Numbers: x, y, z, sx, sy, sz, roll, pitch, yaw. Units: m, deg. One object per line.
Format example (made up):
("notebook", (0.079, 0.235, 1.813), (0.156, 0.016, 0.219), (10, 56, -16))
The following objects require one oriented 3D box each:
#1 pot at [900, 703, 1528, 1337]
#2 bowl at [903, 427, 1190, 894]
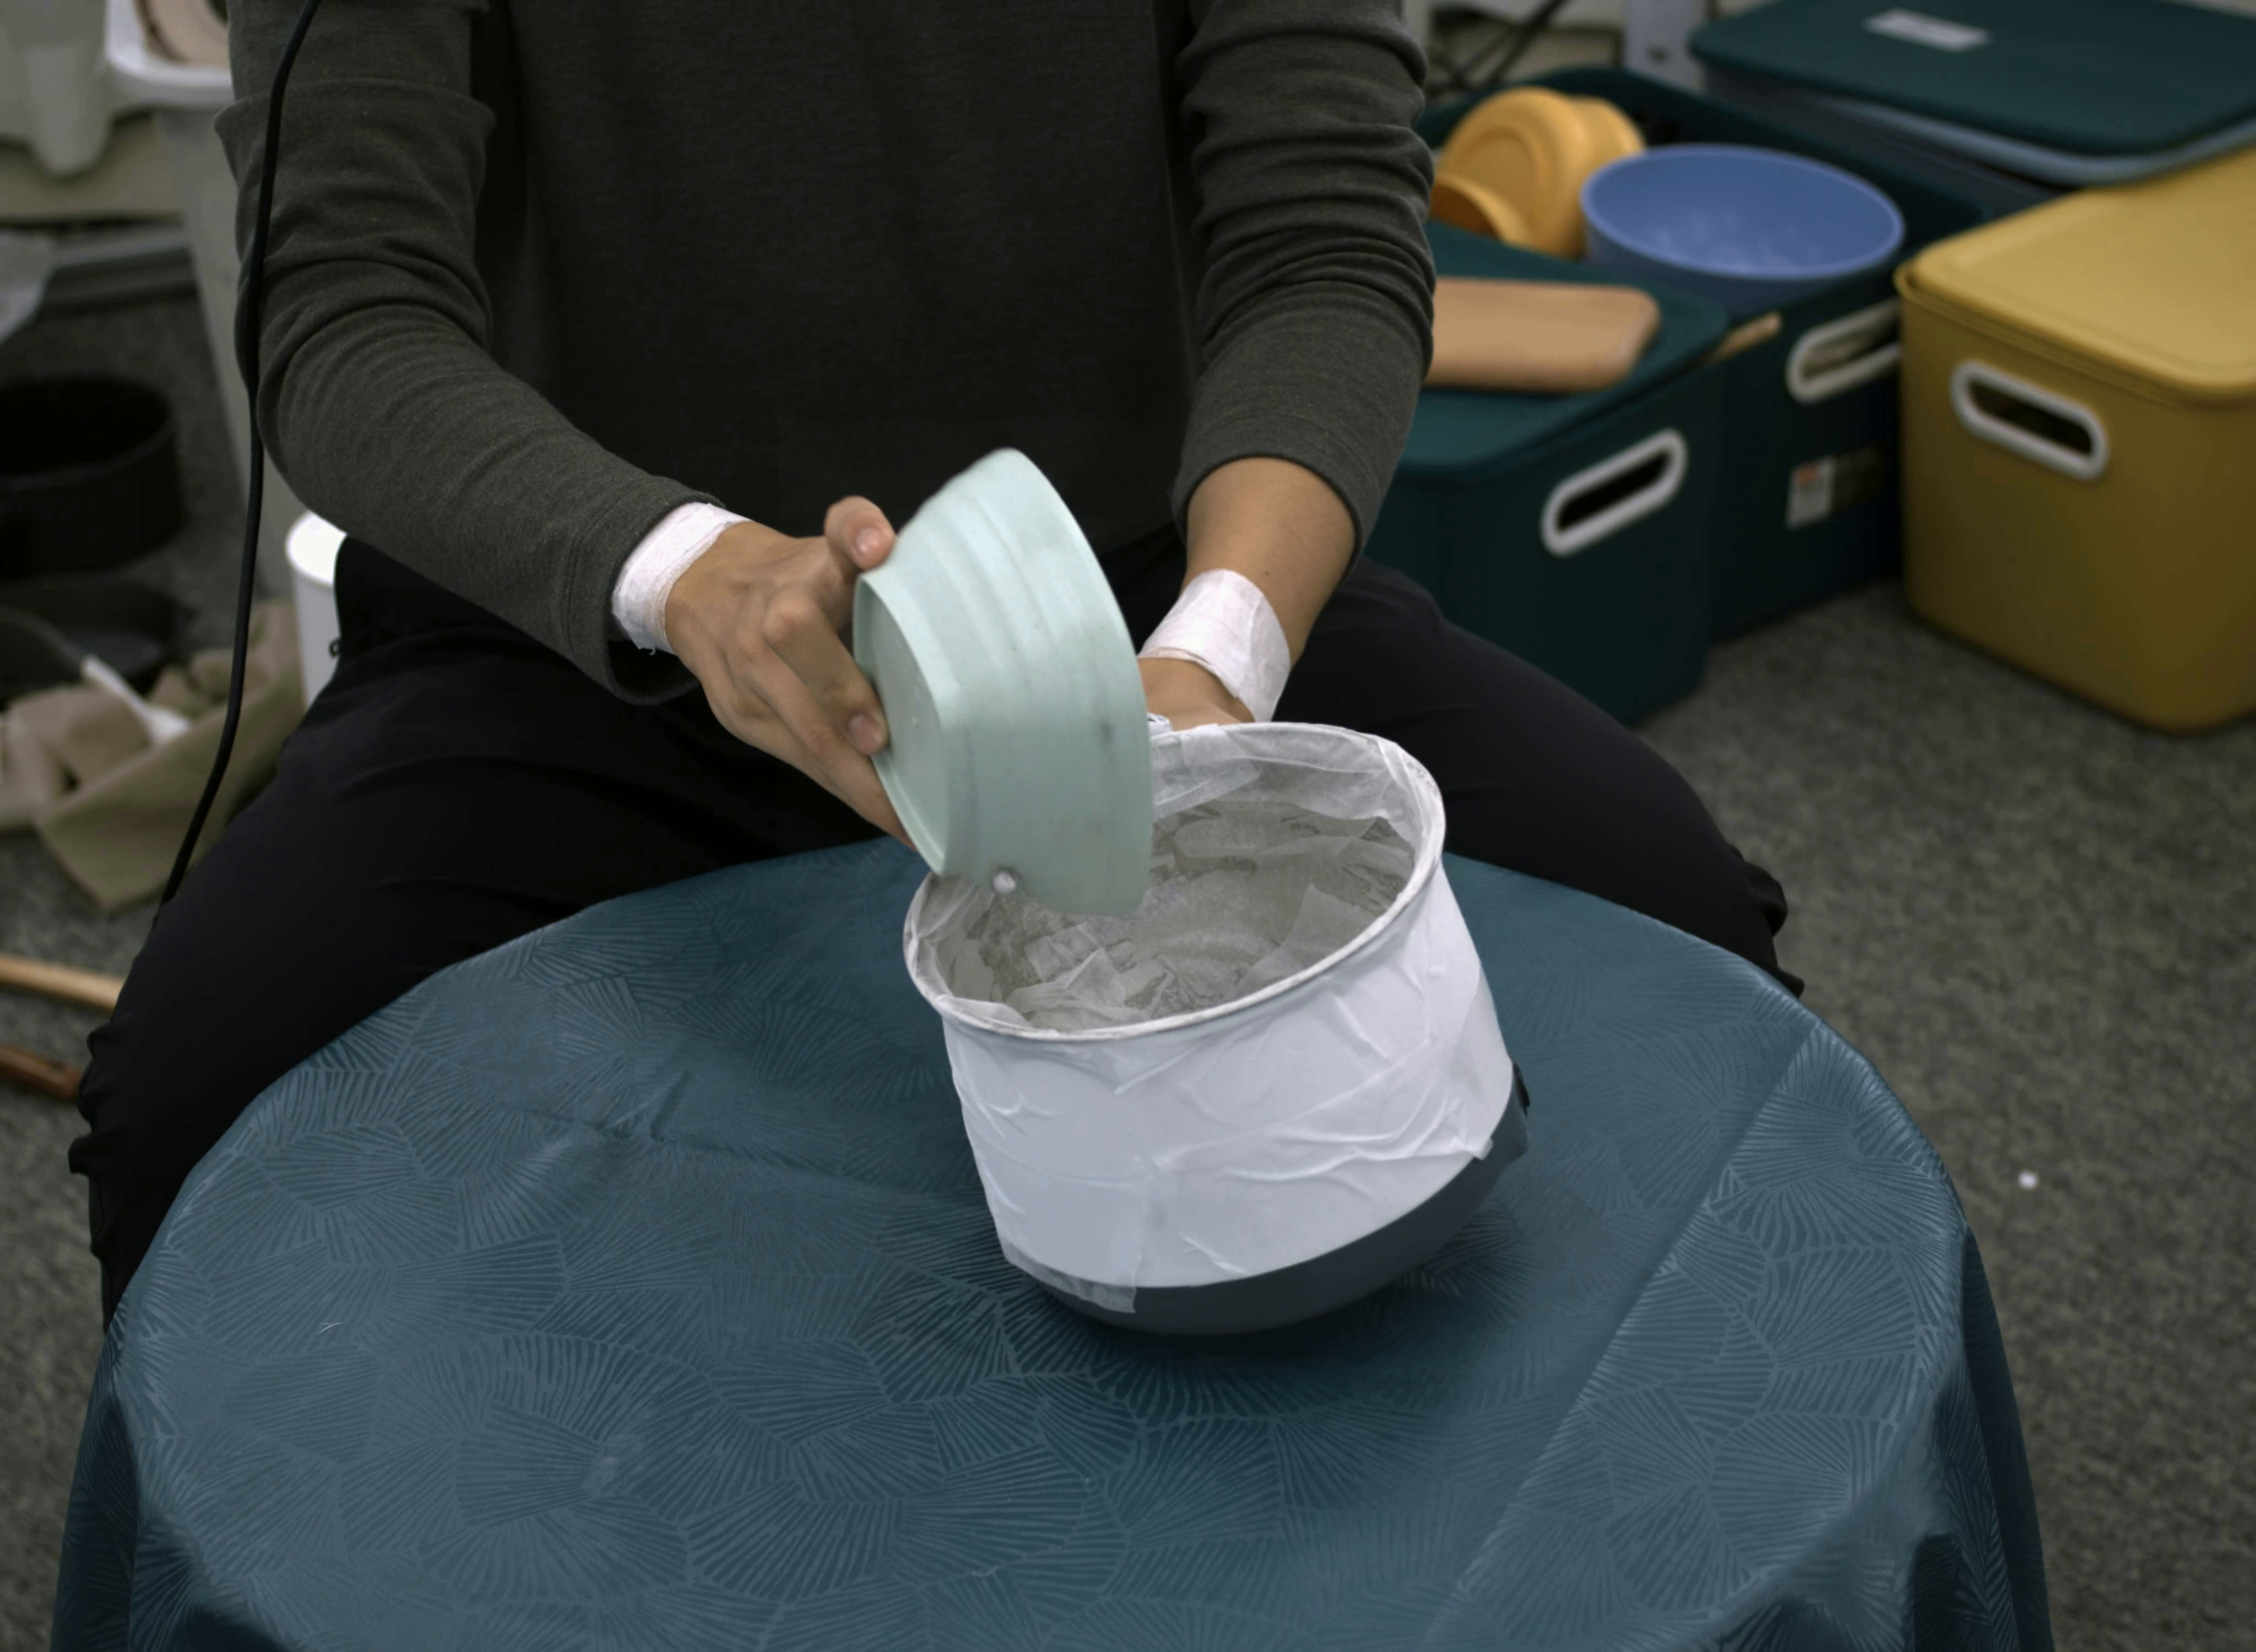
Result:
("pot", (0.025, 0.053, 1.818), (0.178, 0.135, 0.237), (-16, 30, 0))
("bowl", (-0.029, -0.044, 1.763), (0.058, 0.150, 0.153), (-17, 27, 4))
